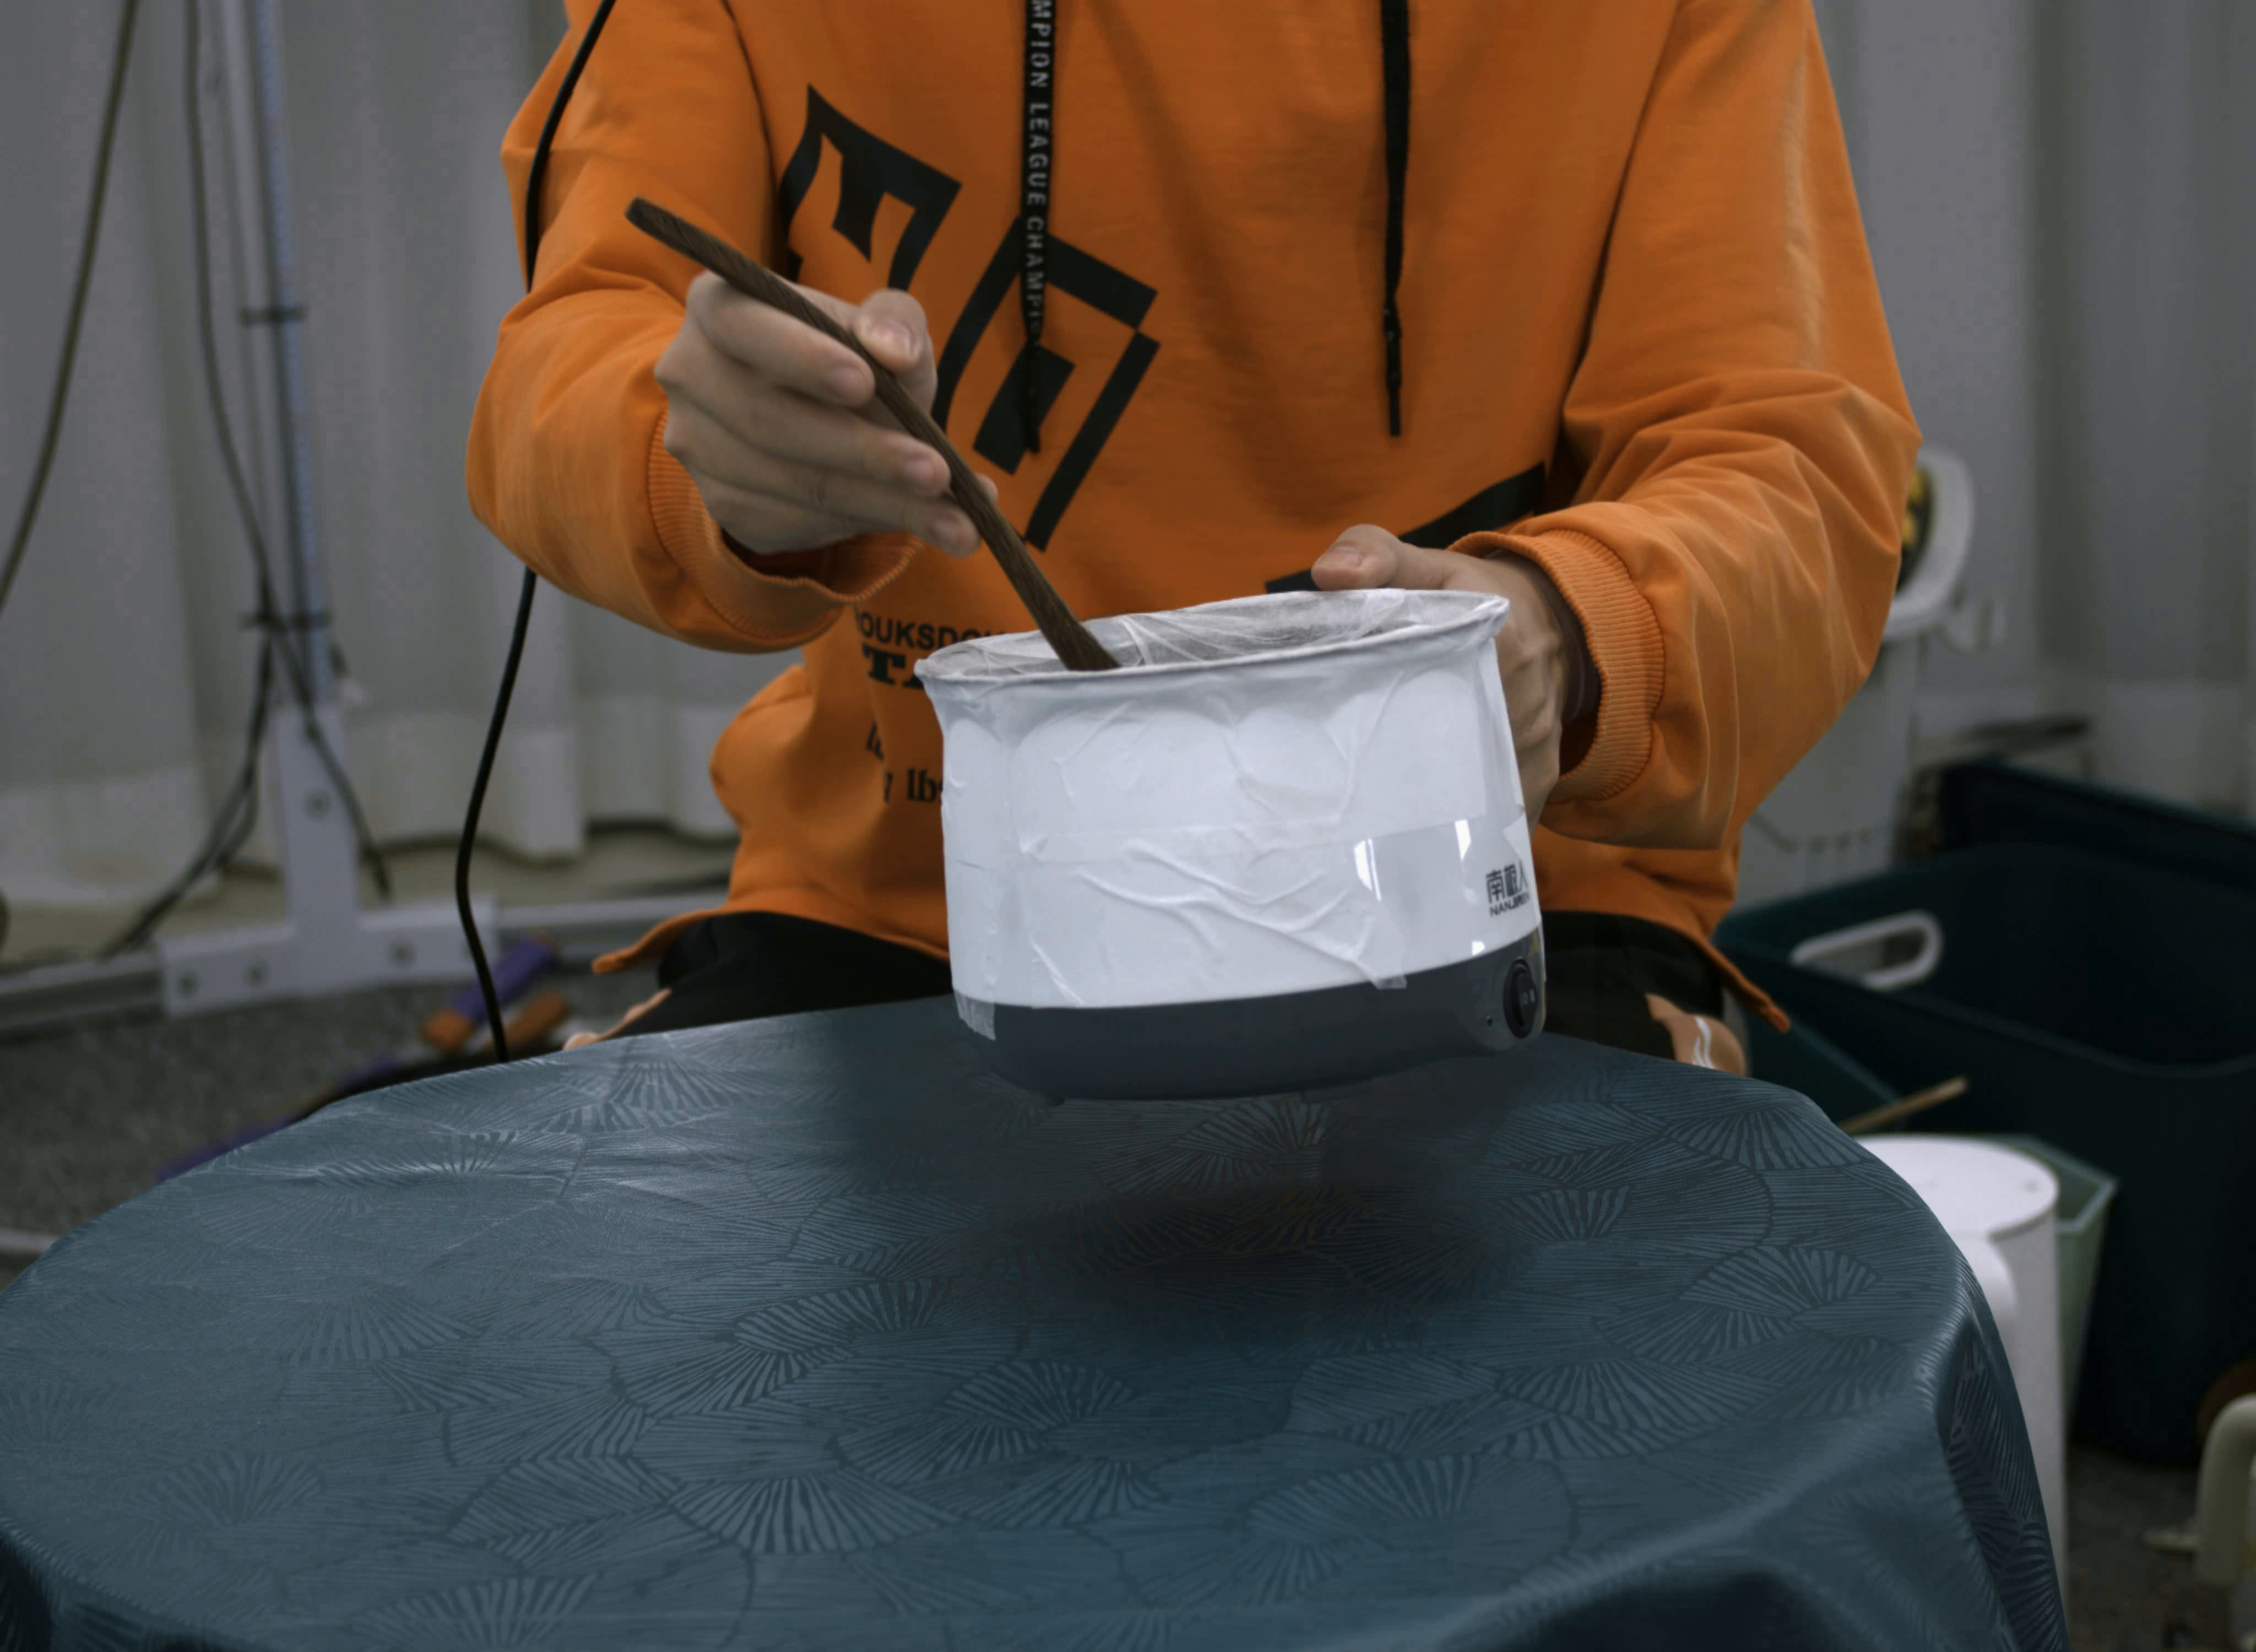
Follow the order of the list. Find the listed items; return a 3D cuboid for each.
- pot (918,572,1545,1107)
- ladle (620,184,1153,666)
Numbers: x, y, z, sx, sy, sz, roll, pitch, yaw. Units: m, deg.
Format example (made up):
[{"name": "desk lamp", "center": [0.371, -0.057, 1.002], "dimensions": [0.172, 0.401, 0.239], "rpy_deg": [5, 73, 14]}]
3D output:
[{"name": "pot", "center": [0.043, 0.001, 1.650], "dimensions": [0.179, 0.136, 0.233], "rpy_deg": [-2, 8, 26]}, {"name": "ladle", "center": [-0.032, -0.110, 1.624], "dimensions": [0.071, 0.273, 0.076], "rpy_deg": [-44, 4, -7]}]
